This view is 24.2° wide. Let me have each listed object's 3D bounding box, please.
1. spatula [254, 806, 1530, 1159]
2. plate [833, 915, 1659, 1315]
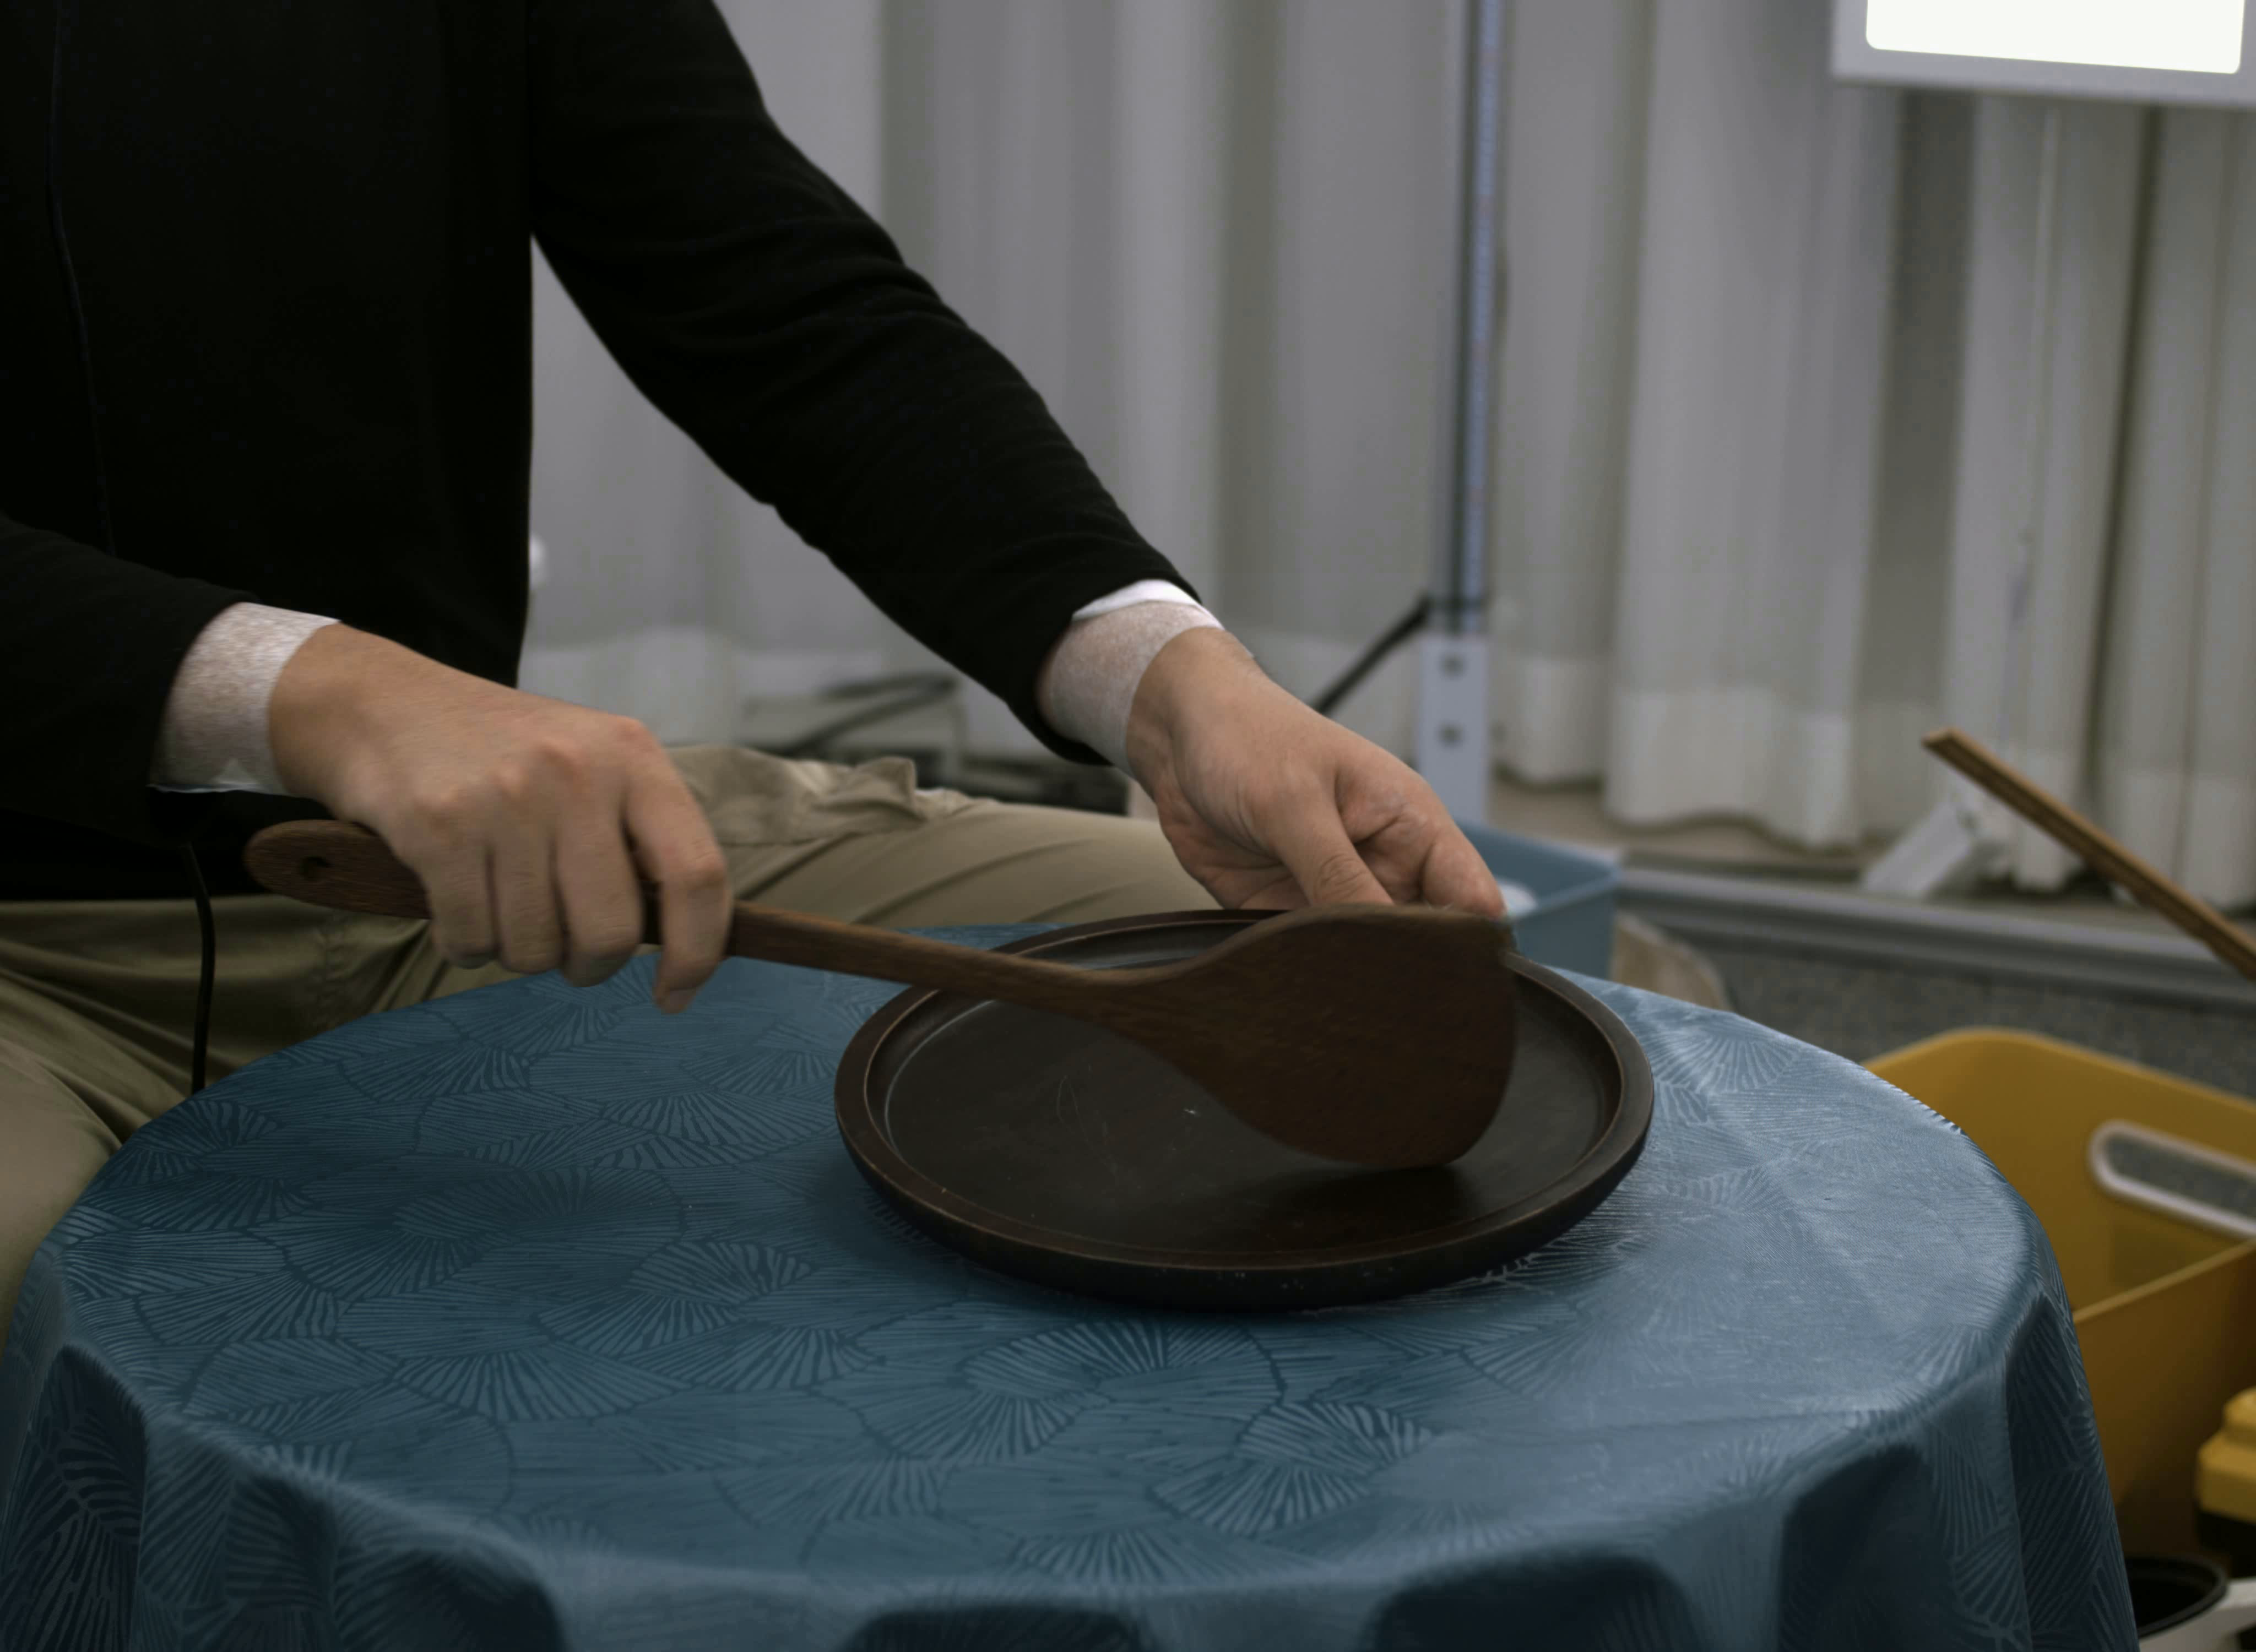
[{"bbox_3d":[-0.072,0.035,1.564,0.384,0.097,0.015,9,34,4],"label":"spatula"},{"bbox_3d":[0.036,0.085,1.618,0.254,0.029,0.253,-1,24,1],"label":"plate"}]
